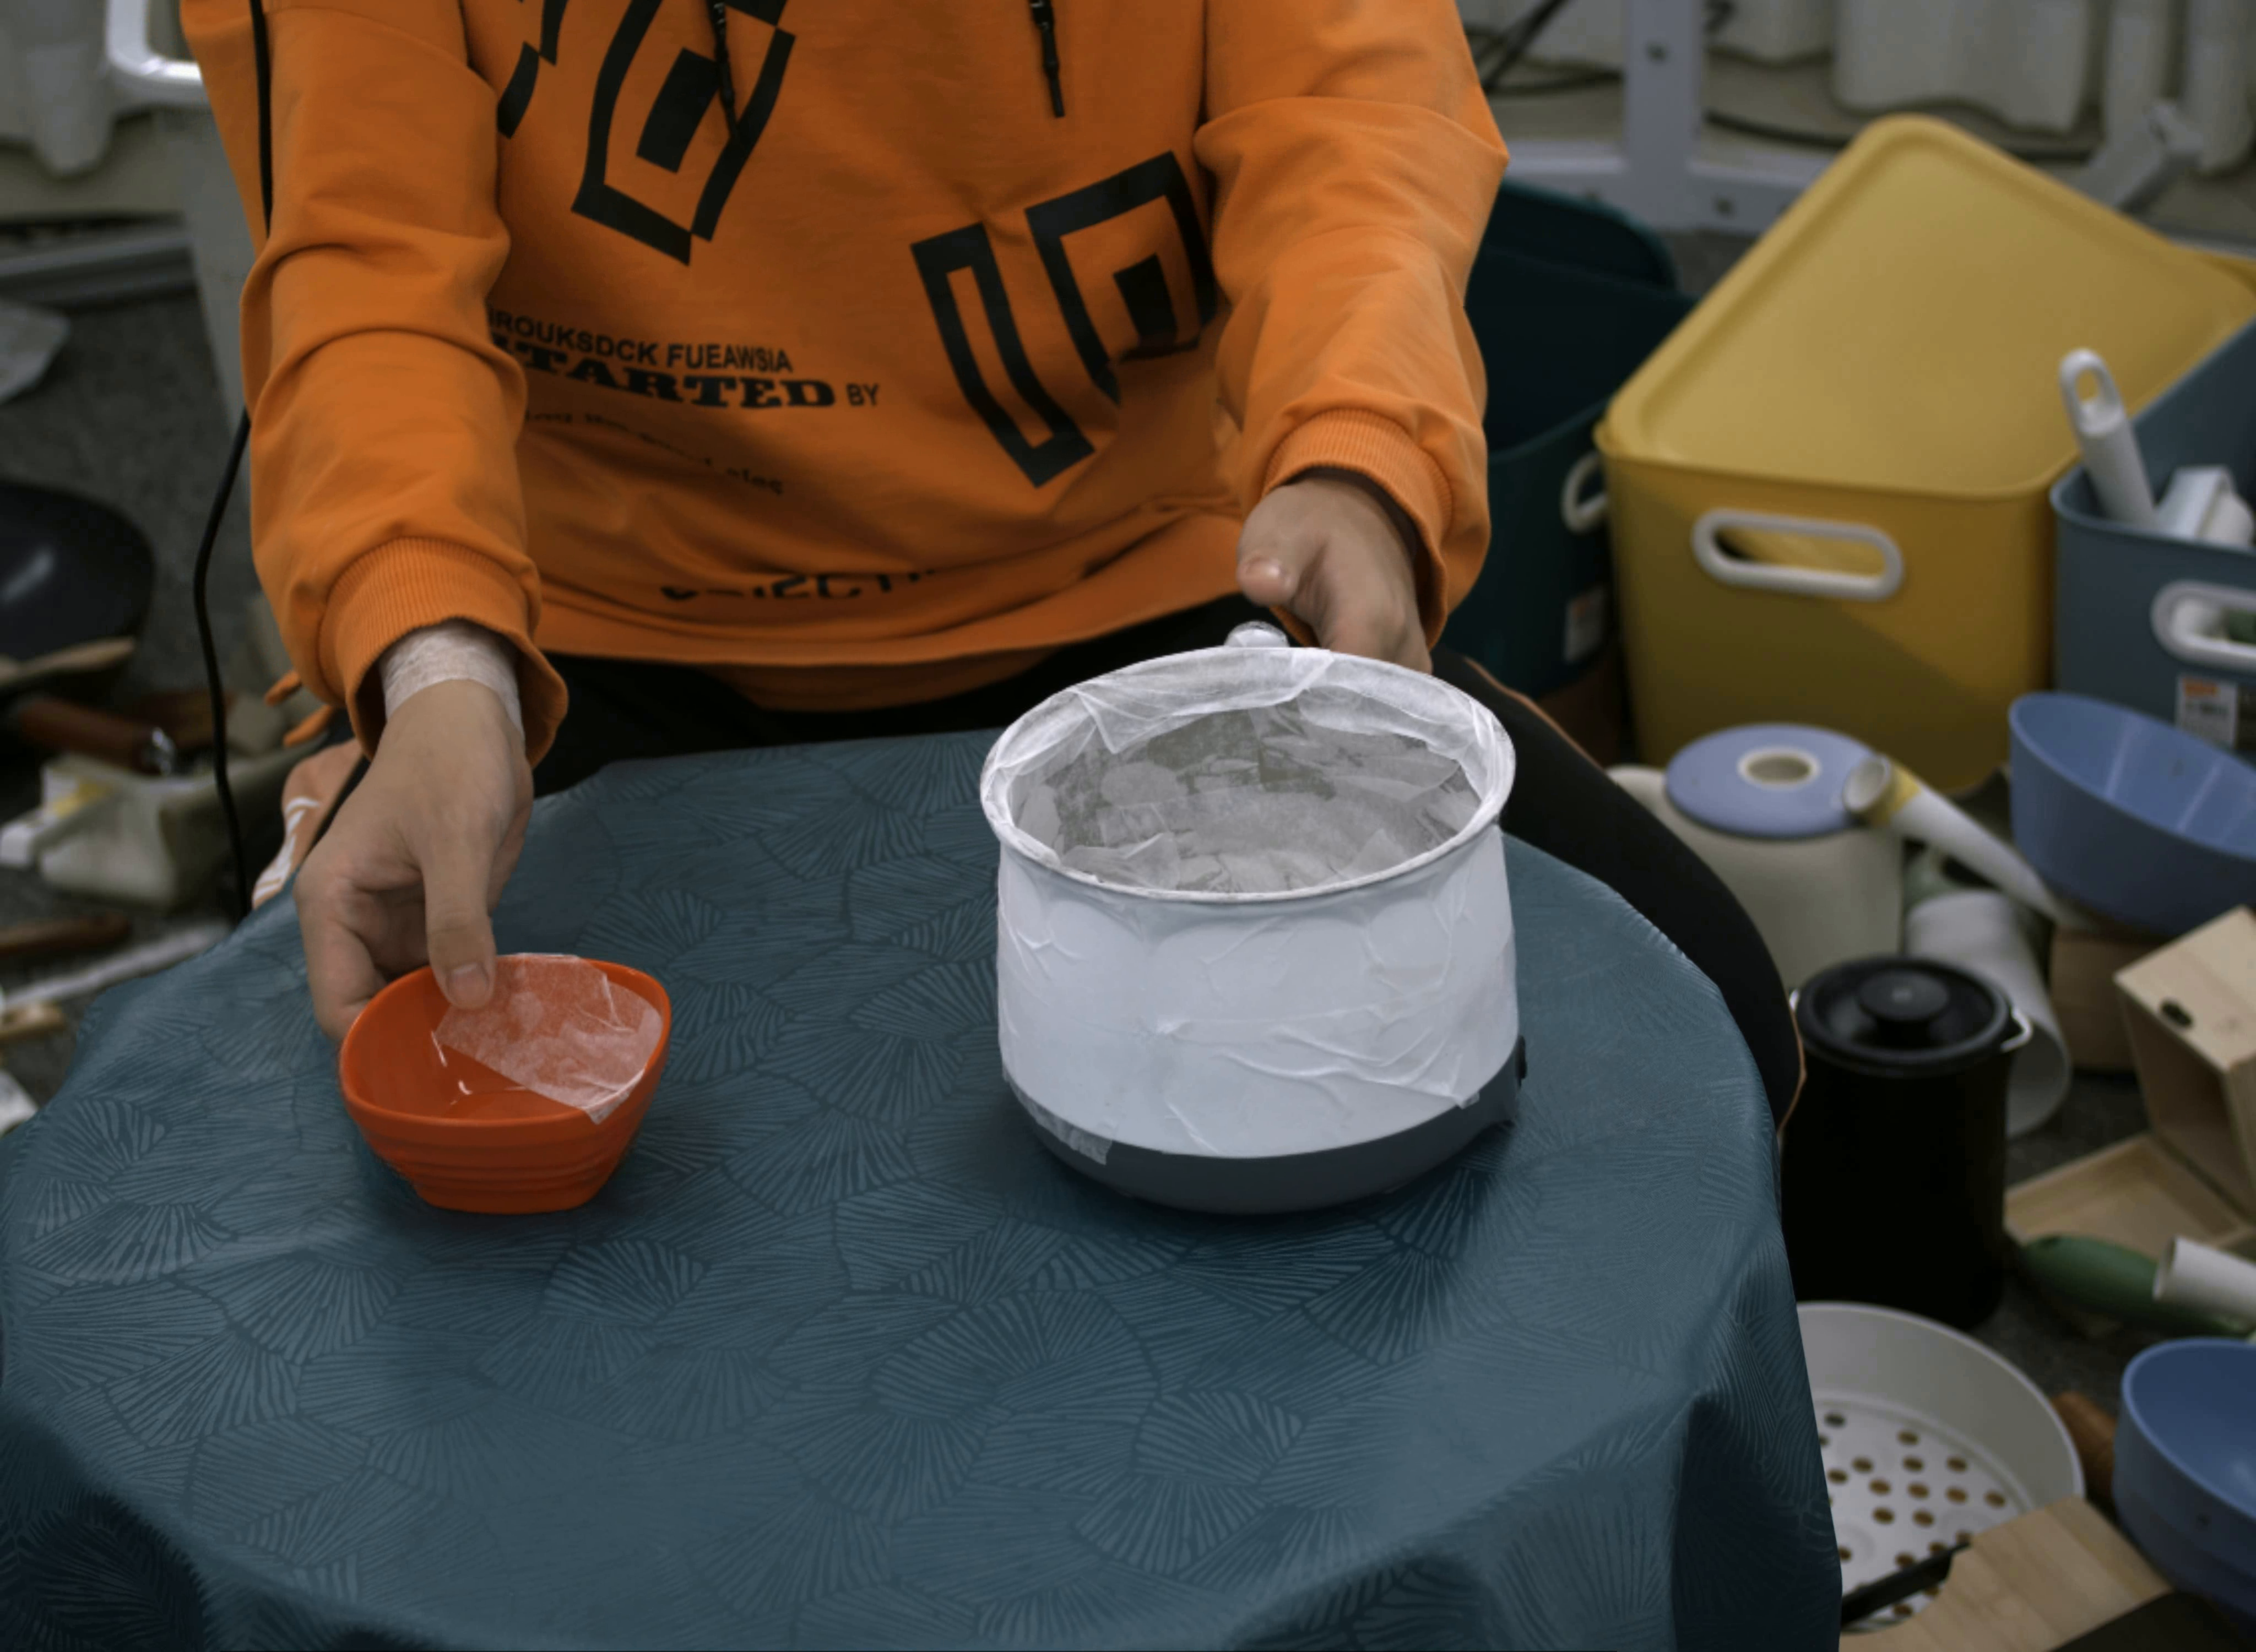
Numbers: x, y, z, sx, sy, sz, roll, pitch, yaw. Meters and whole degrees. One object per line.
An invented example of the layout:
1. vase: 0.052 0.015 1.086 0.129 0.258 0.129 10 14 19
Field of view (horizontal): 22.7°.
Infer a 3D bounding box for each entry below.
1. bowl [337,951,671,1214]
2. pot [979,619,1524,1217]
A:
1. bowl: -0.206 0.091 1.885 0.118 0.051 0.121 -3 29 2
2. pot: 0.043 0.024 1.899 0.178 0.135 0.237 -2 28 2
